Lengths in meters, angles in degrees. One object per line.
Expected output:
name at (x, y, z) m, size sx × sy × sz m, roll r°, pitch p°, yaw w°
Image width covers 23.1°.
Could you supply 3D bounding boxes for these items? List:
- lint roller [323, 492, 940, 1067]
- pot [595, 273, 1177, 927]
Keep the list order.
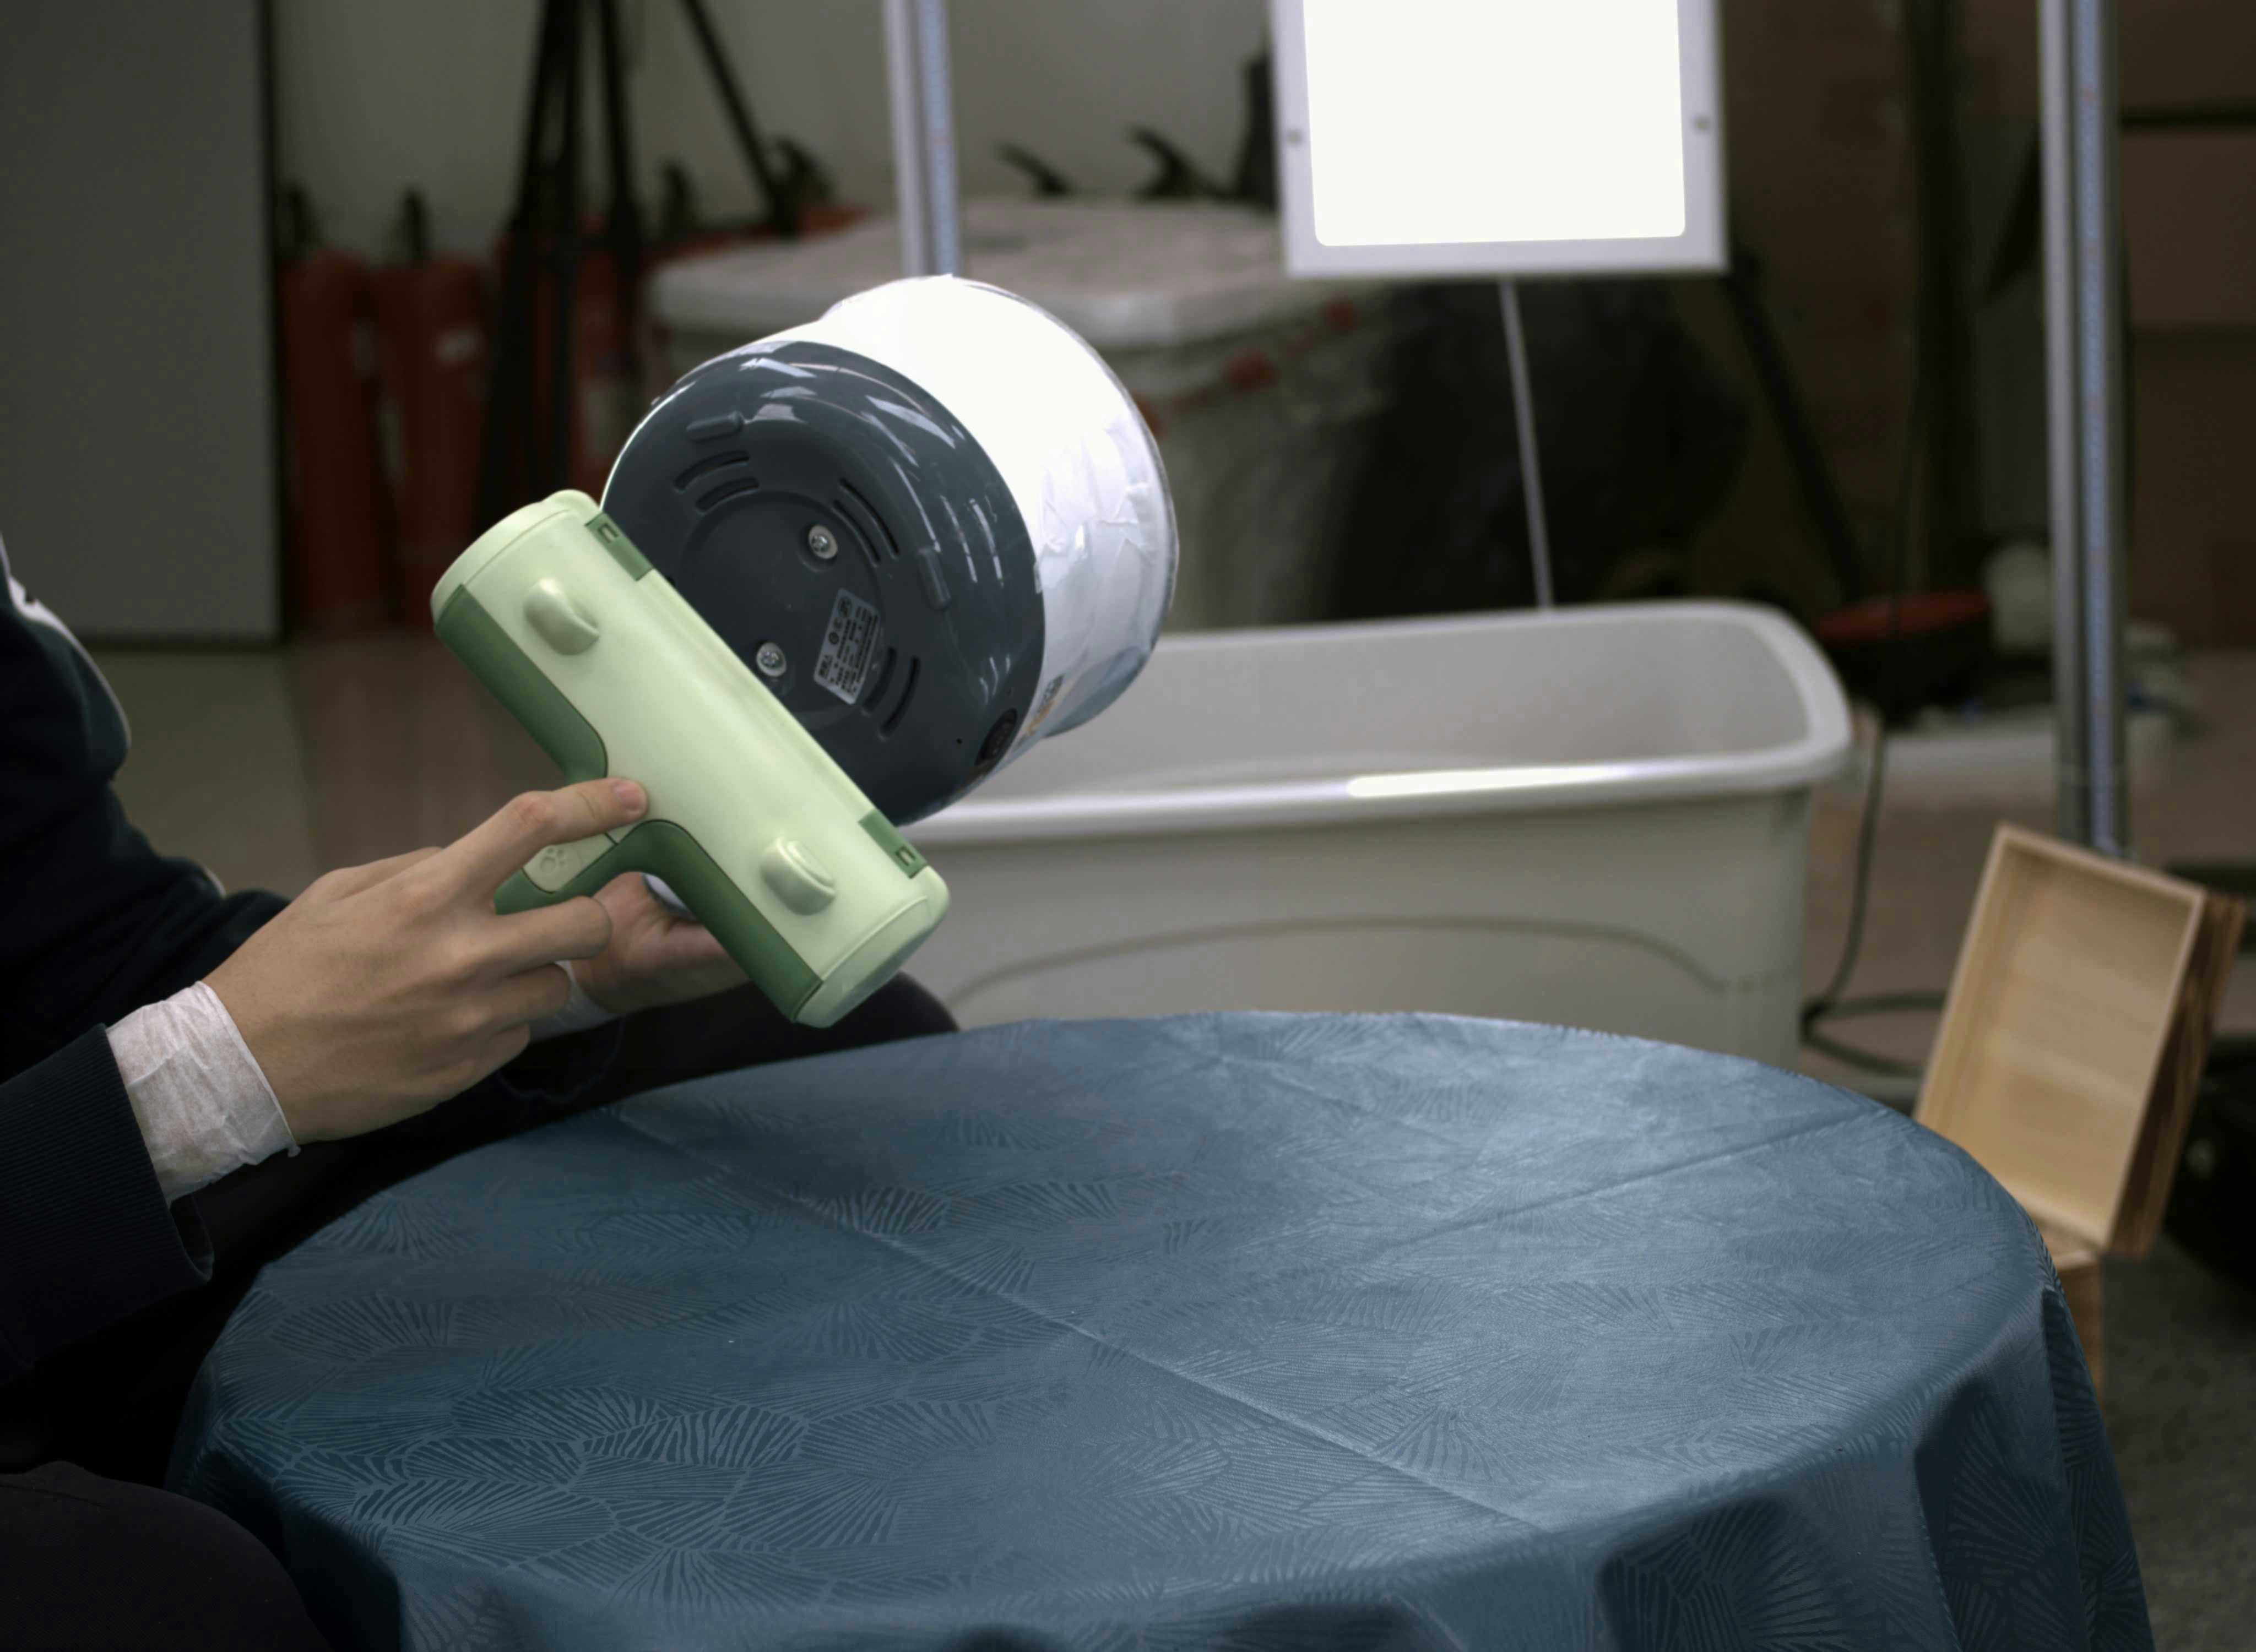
lint roller at (-0.187, 0.010, 1.797) m, size 0.180 × 0.199 × 0.083 m, roll -40°, pitch -8°, yaw -22°
pot at (-0.100, -0.073, 1.963) m, size 0.180 × 0.237 × 0.133 m, roll 36°, pitch 34°, yaw 16°
